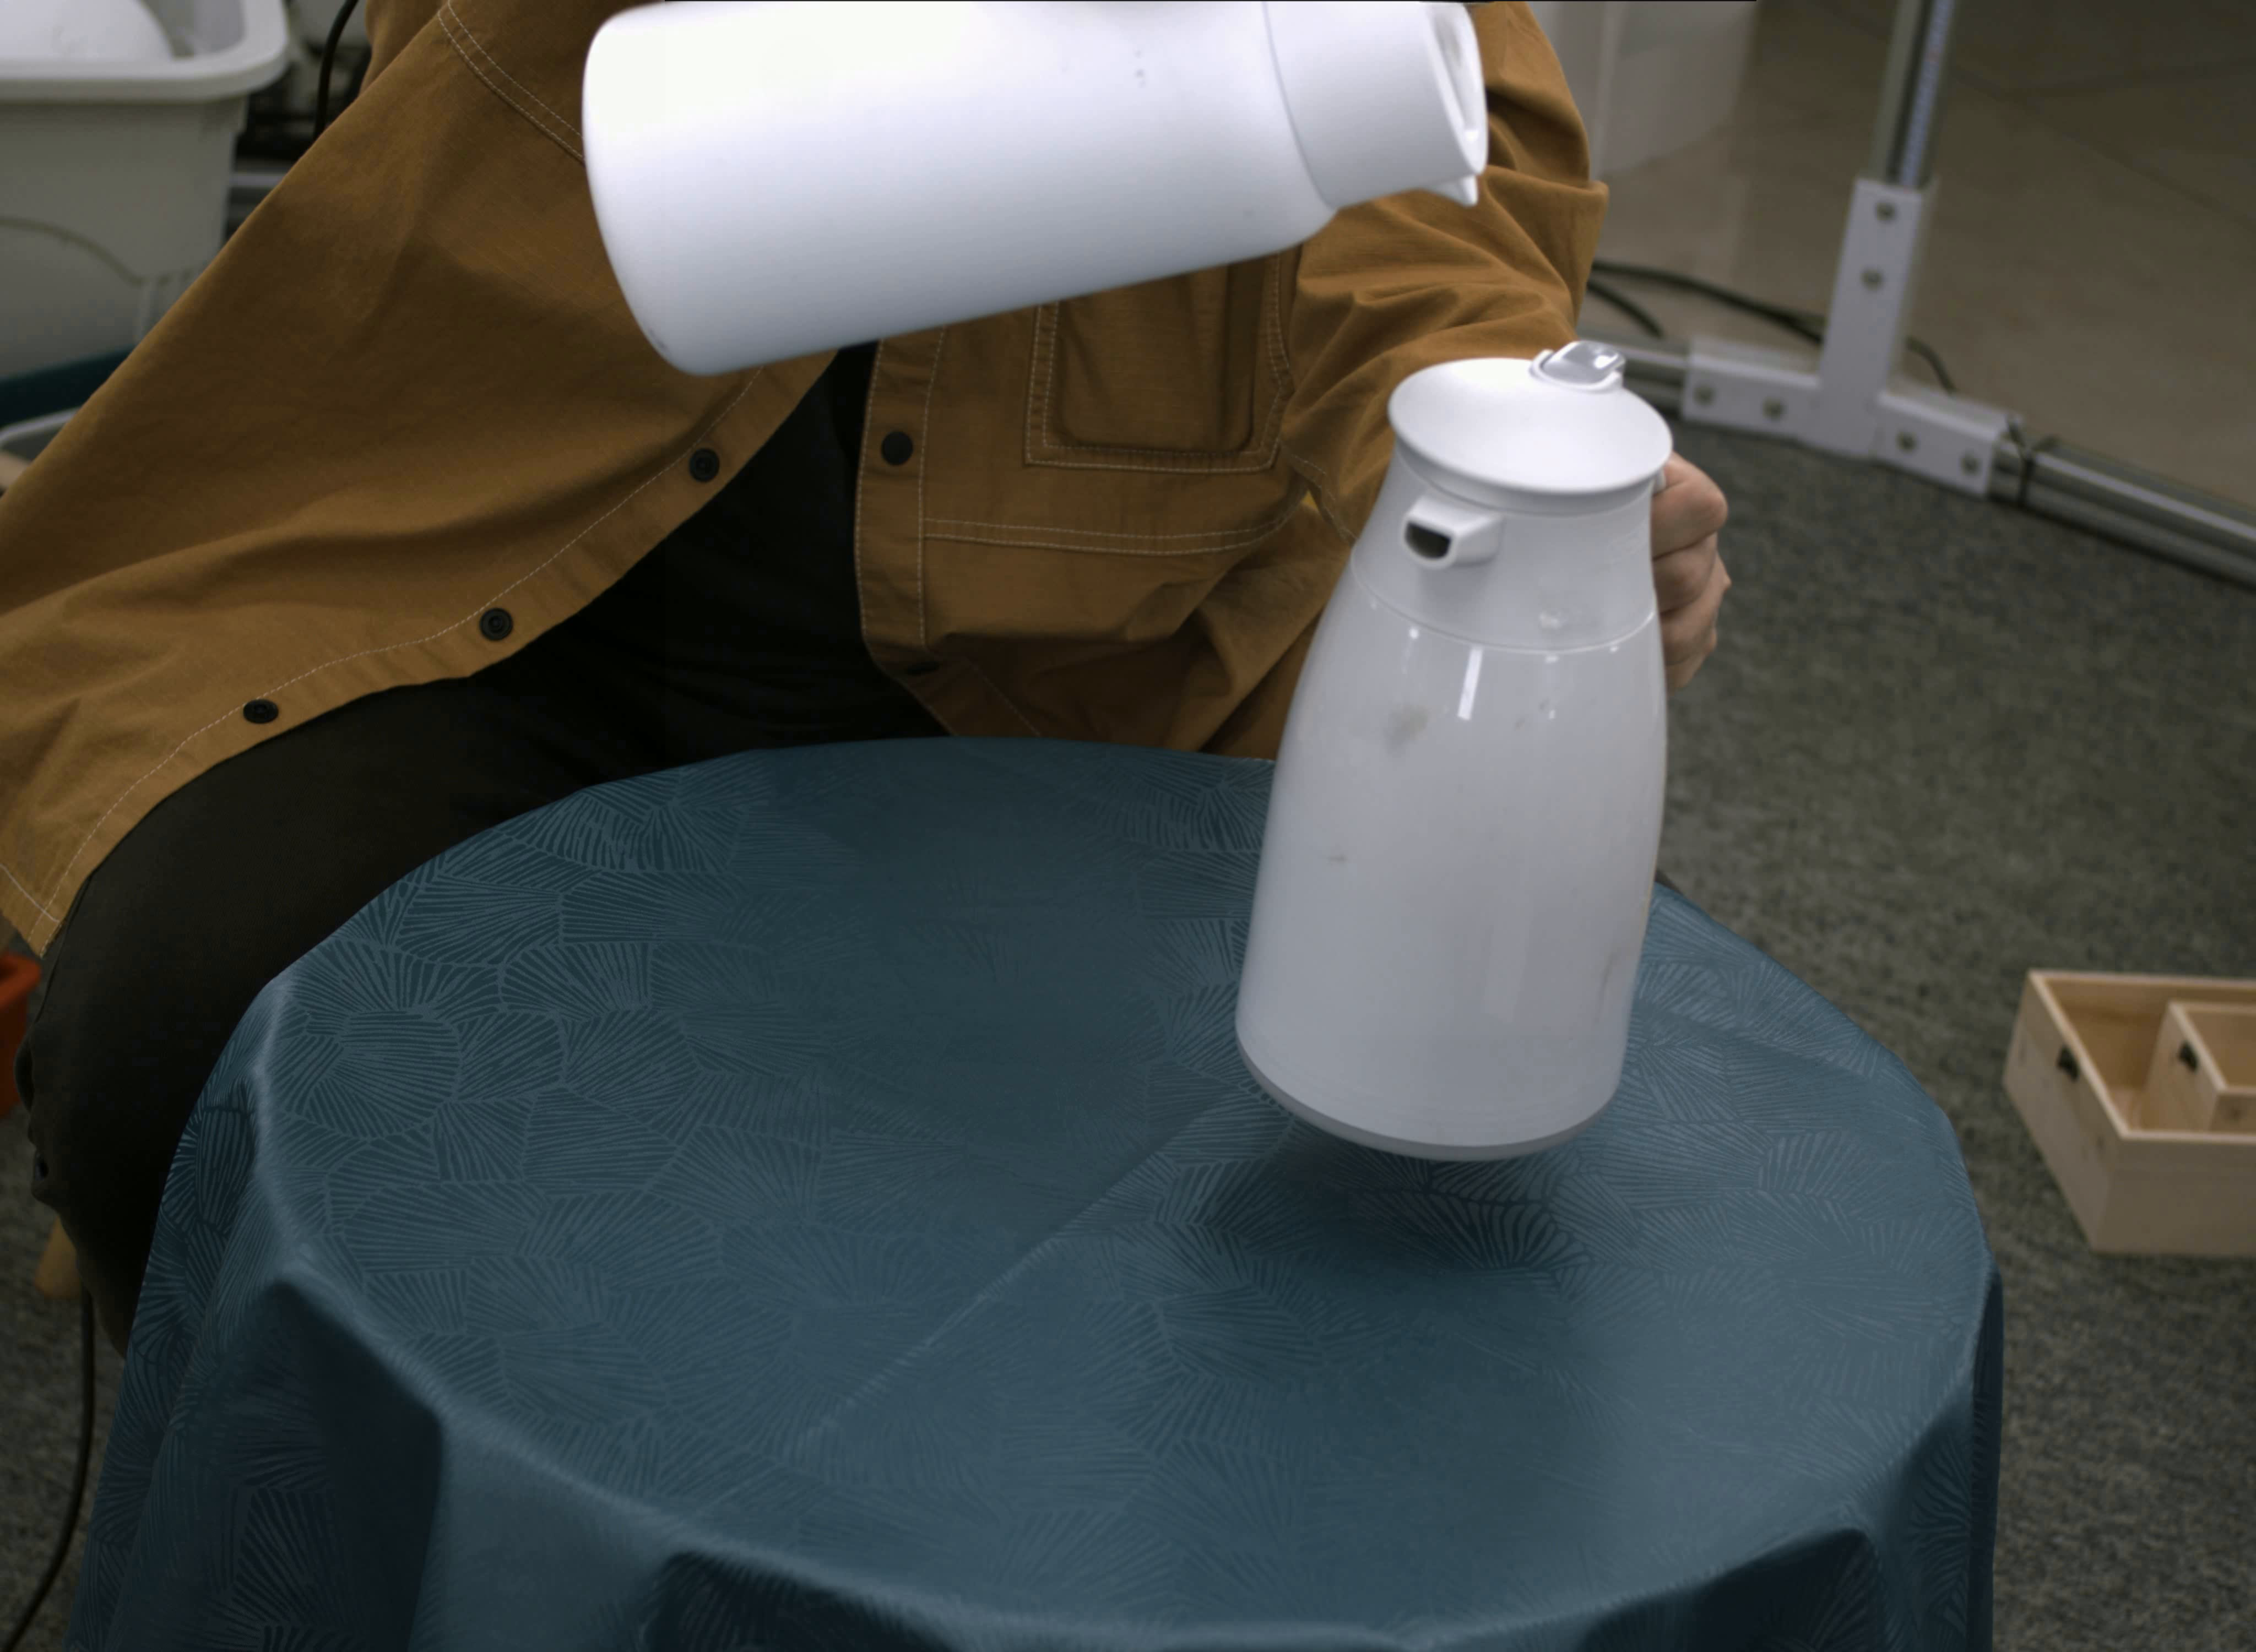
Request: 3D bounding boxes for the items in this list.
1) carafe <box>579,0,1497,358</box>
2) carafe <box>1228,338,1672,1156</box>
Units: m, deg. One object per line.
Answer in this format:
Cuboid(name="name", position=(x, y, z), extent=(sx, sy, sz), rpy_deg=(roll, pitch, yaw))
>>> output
Cuboid(name="carafe", position=(-0.034, -0.237, 1.640), extent=(0.269, 0.171, 0.125), rpy_deg=(-9, 41, 15))
Cuboid(name="carafe", position=(0.122, -0.038, 1.758), extent=(0.133, 0.248, 0.167), rpy_deg=(22, 32, 24))
